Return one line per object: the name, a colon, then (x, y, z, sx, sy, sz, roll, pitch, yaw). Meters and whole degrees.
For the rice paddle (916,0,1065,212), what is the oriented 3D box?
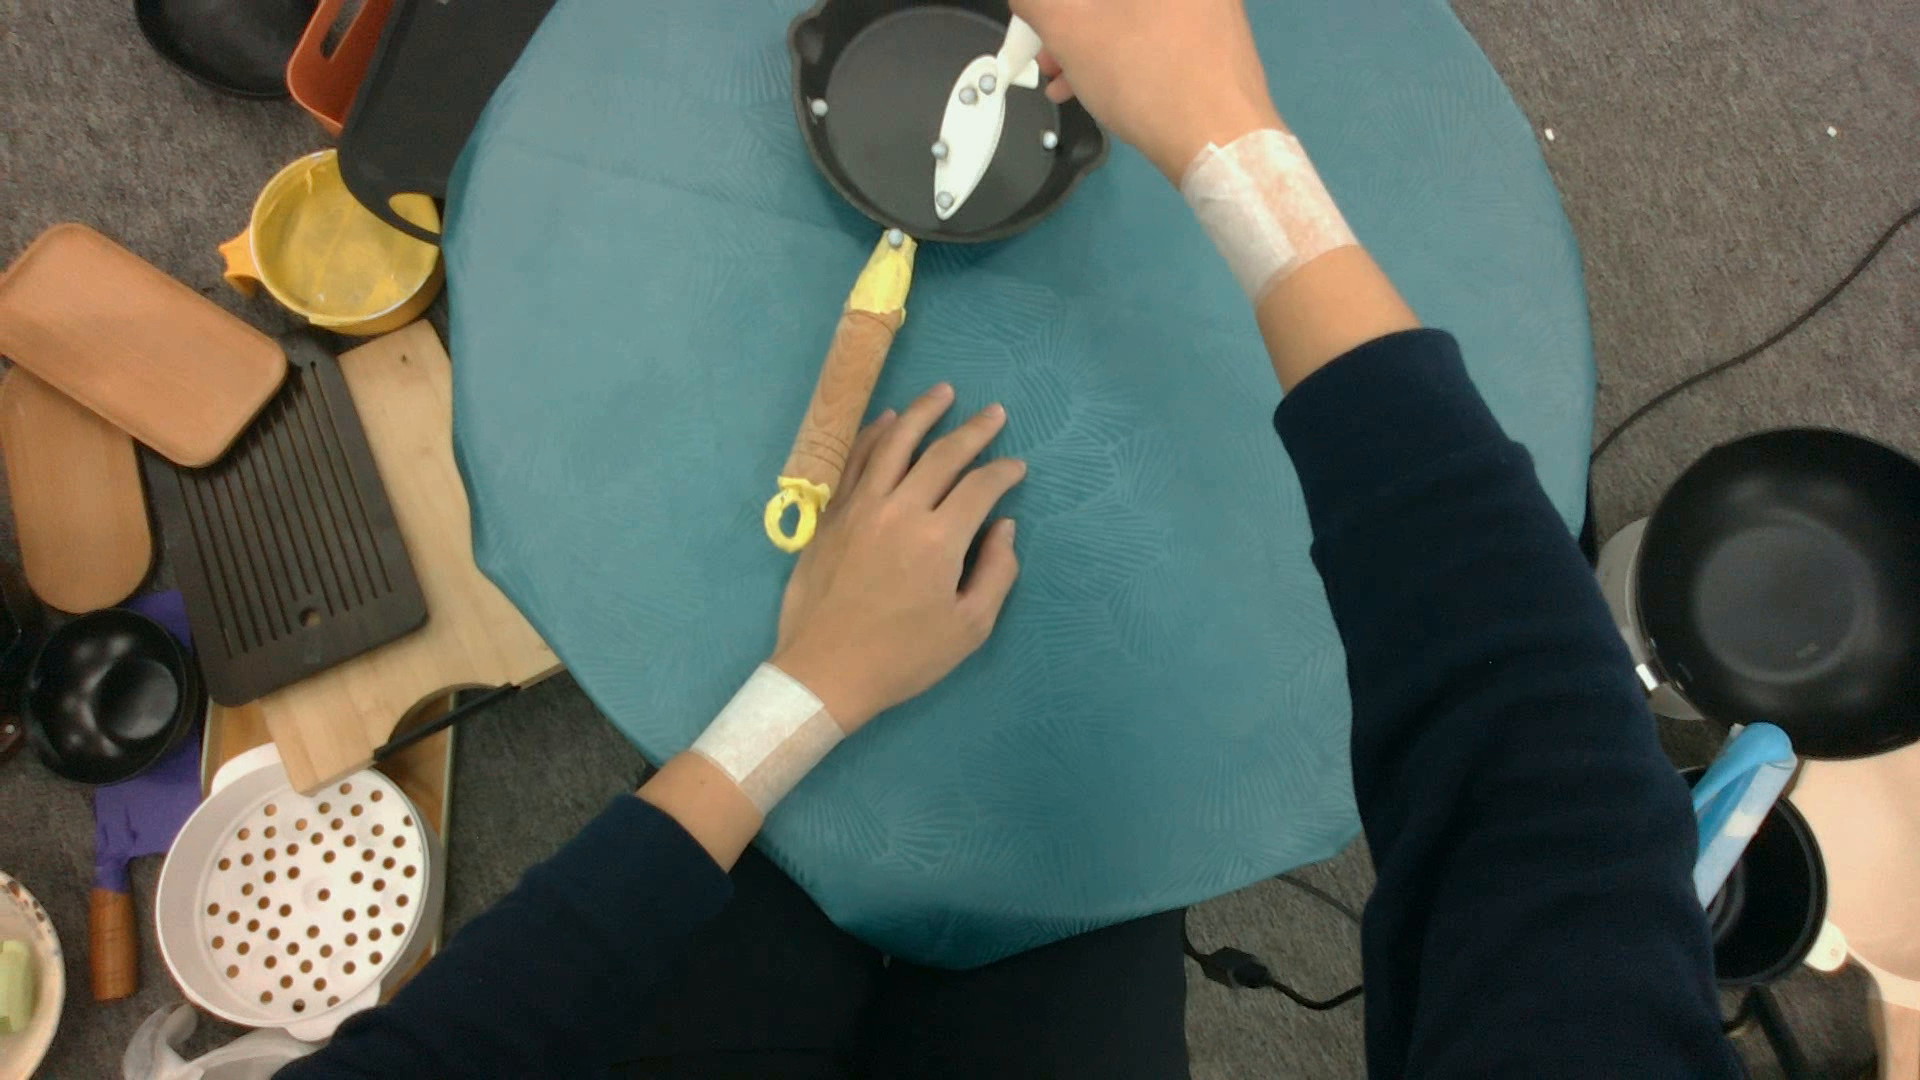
rice paddle: (0.011, -0.211, 0.617, 0.029, 0.204, 0.069, 7, 74, -20)

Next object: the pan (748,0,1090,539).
pan: (-0.042, -0.150, 0.679, 0.169, 0.049, 0.325, 21, 76, -5)
